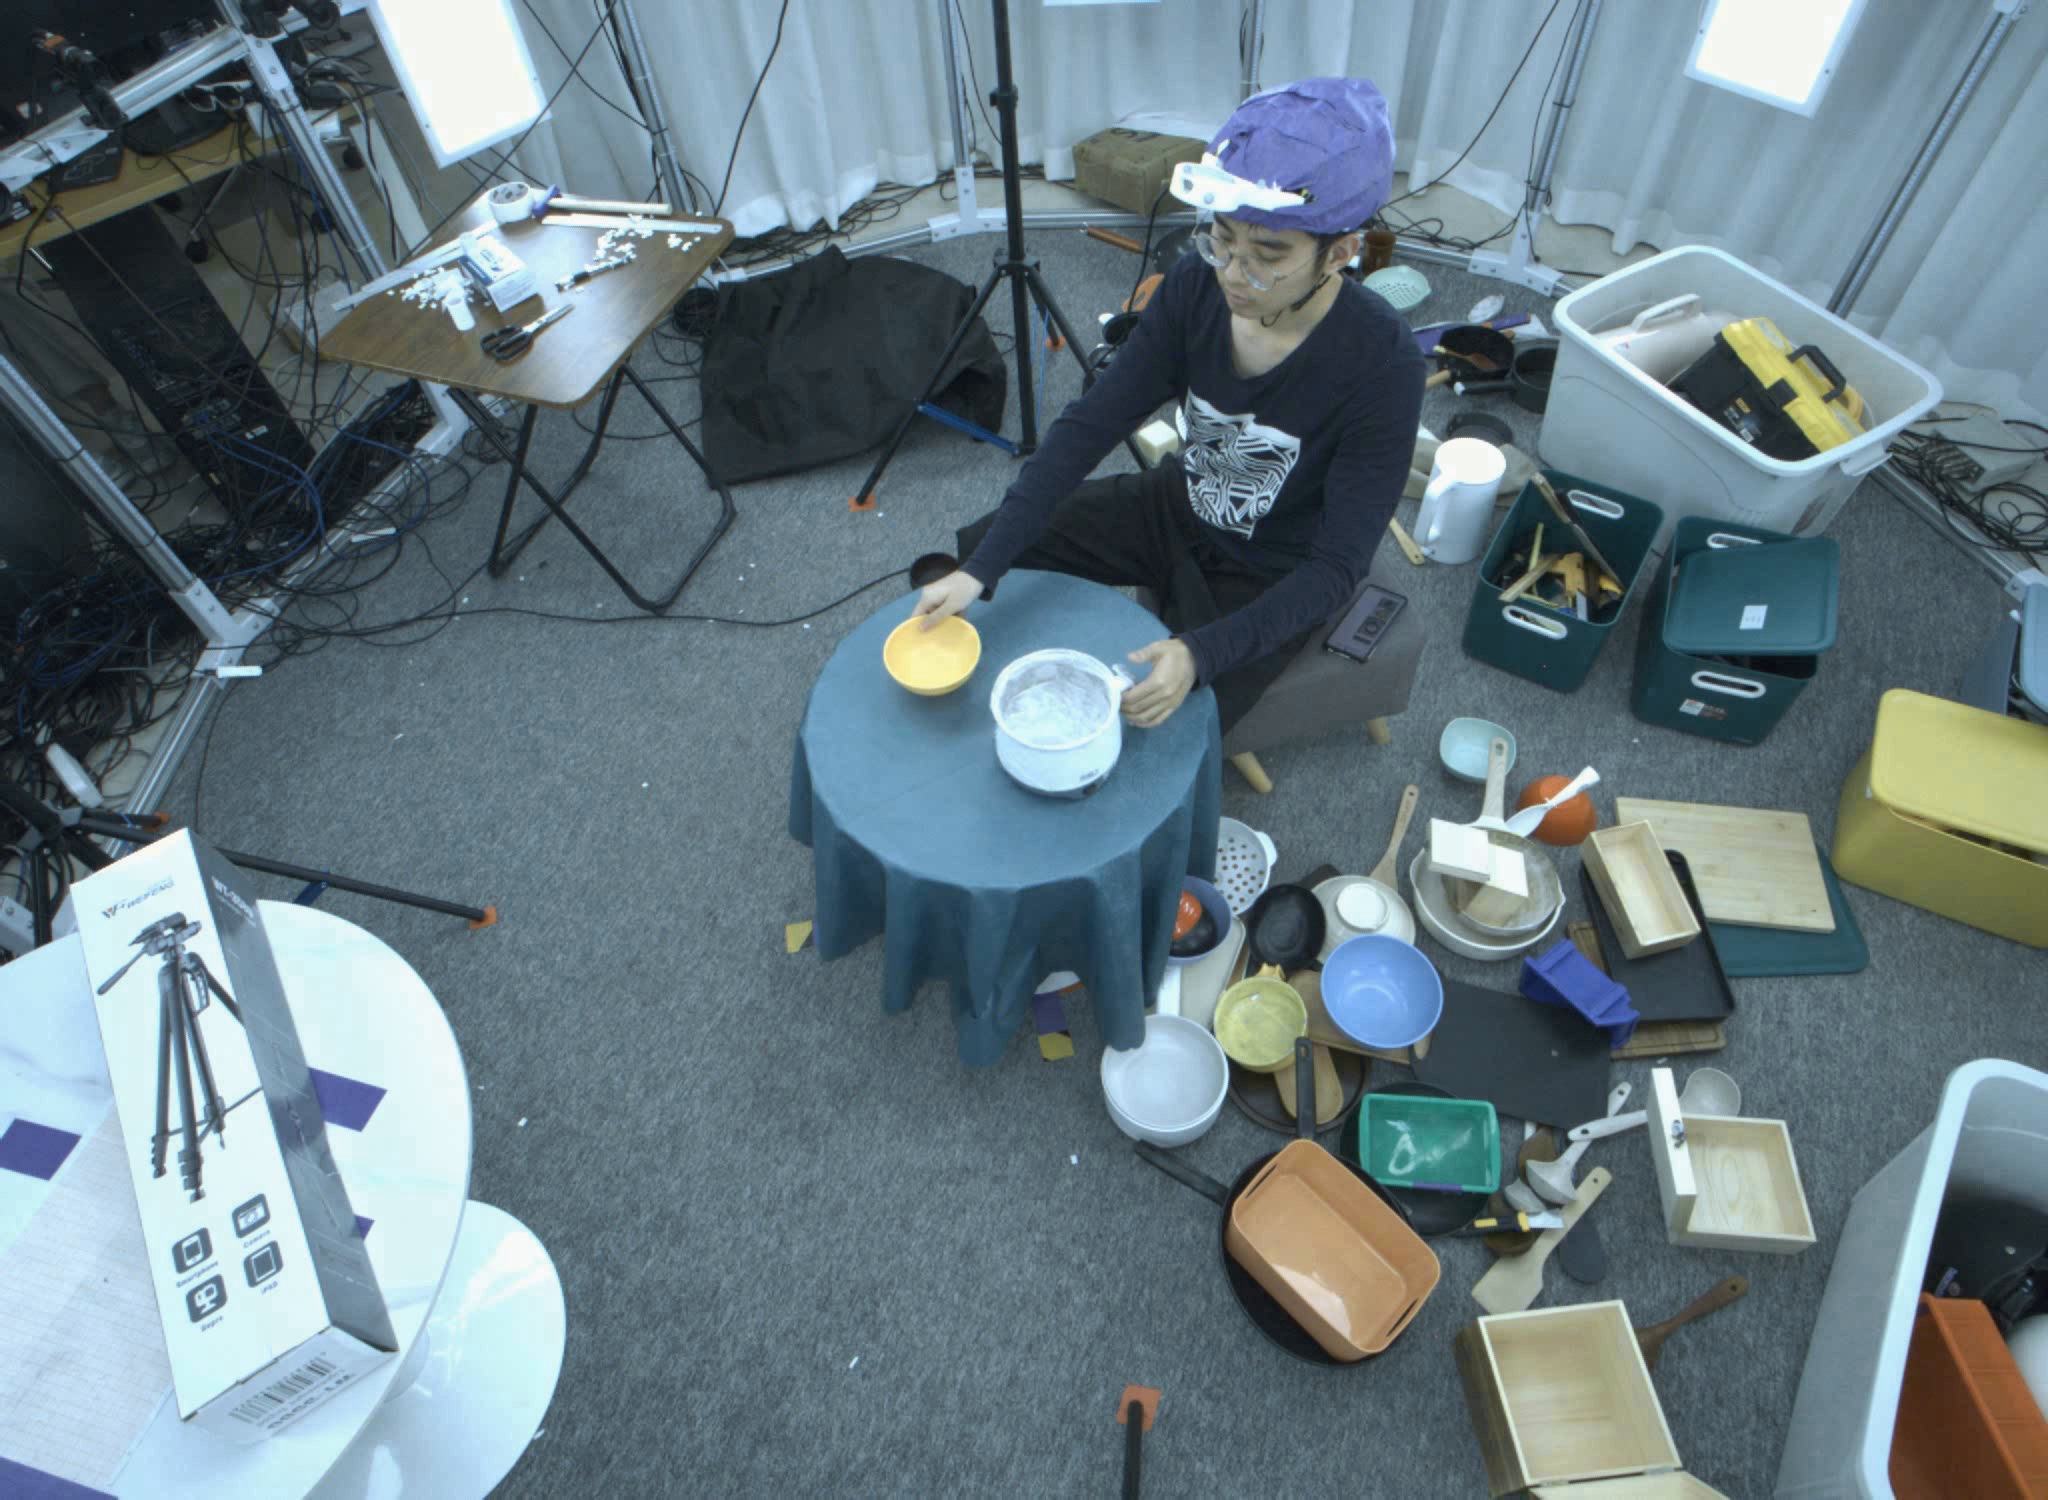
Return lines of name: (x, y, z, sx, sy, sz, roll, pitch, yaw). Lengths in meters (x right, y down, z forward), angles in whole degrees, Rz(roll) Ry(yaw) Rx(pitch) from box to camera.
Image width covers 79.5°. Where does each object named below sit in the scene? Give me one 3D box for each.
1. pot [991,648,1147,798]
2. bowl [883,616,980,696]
pot: (0.070, -0.047, 1.741, 0.235, 0.138, 0.175, -28, 61, -16)
bowl: (-0.135, -0.129, 1.828, 0.145, 0.061, 0.144, 0, 53, 1)
